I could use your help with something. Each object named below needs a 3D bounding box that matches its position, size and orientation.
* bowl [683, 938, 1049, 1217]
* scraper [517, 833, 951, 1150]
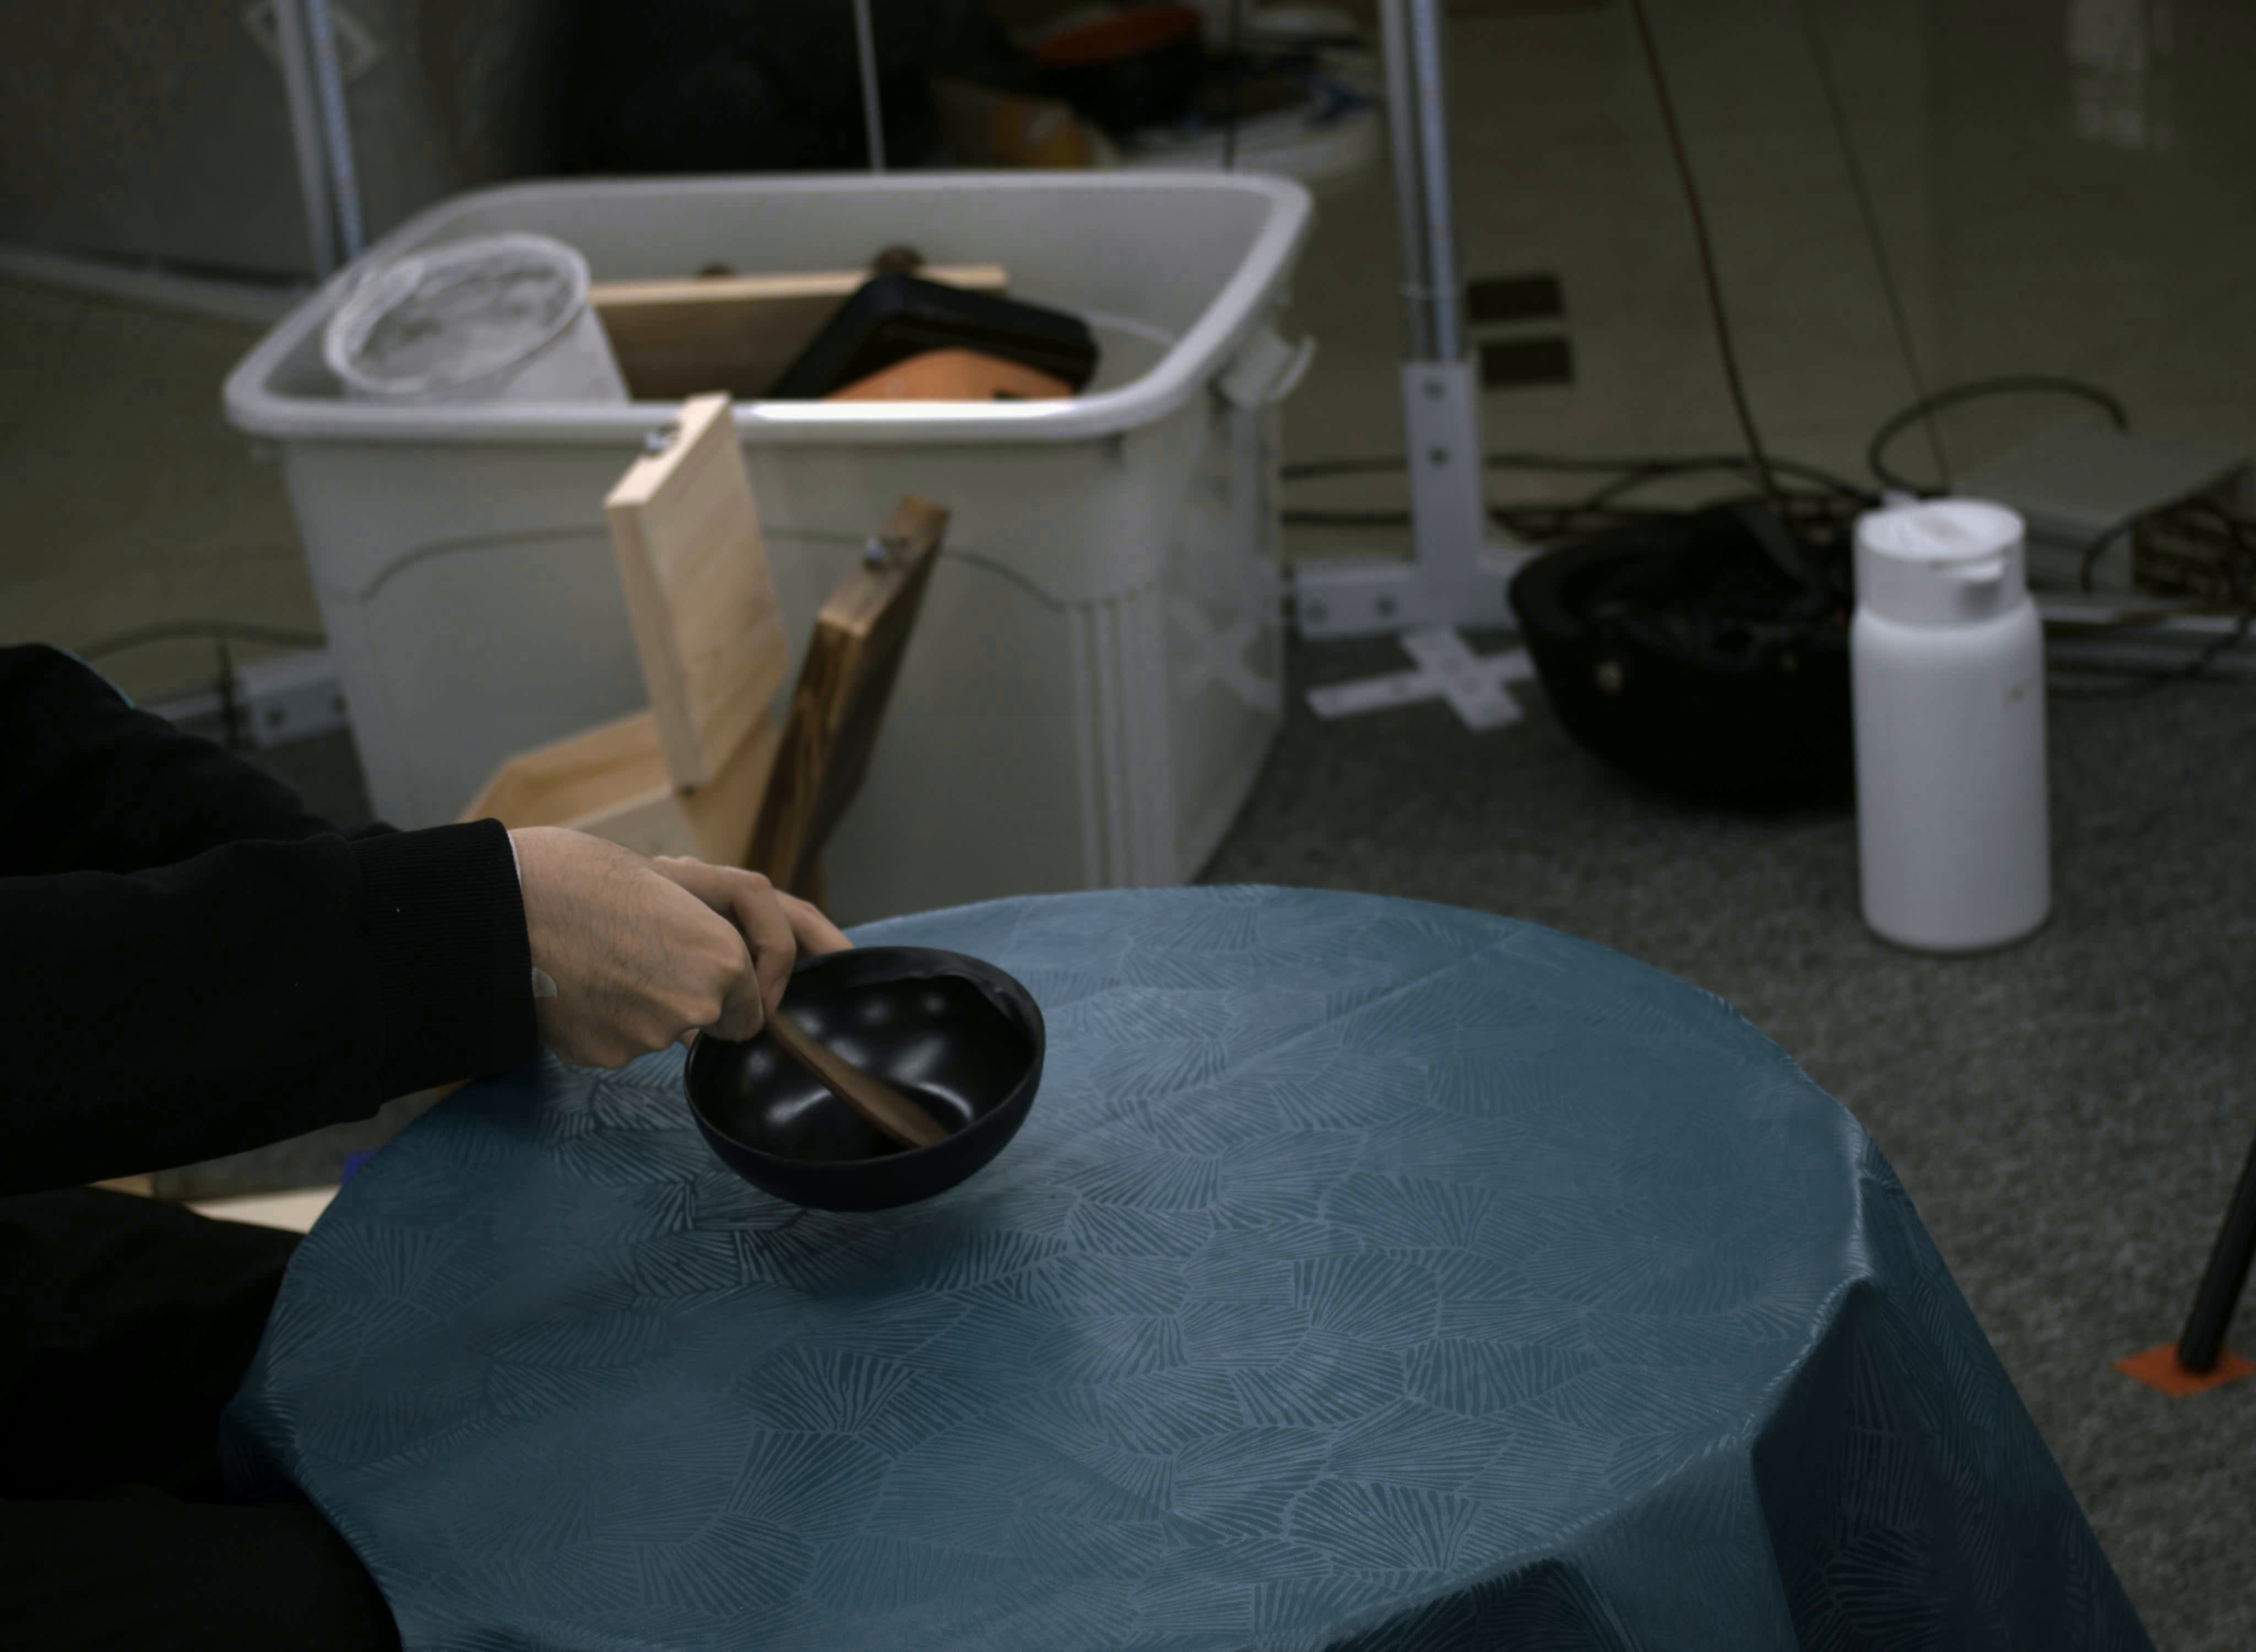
[{"bbox_3d":[-0.097,0.104,2.155,0.140,0.051,0.137,-5,38,4],"label":"bowl"},{"bbox_3d":[-0.146,0.063,2.110,0.011,0.213,0.075,-50,28,3],"label":"scraper"}]
